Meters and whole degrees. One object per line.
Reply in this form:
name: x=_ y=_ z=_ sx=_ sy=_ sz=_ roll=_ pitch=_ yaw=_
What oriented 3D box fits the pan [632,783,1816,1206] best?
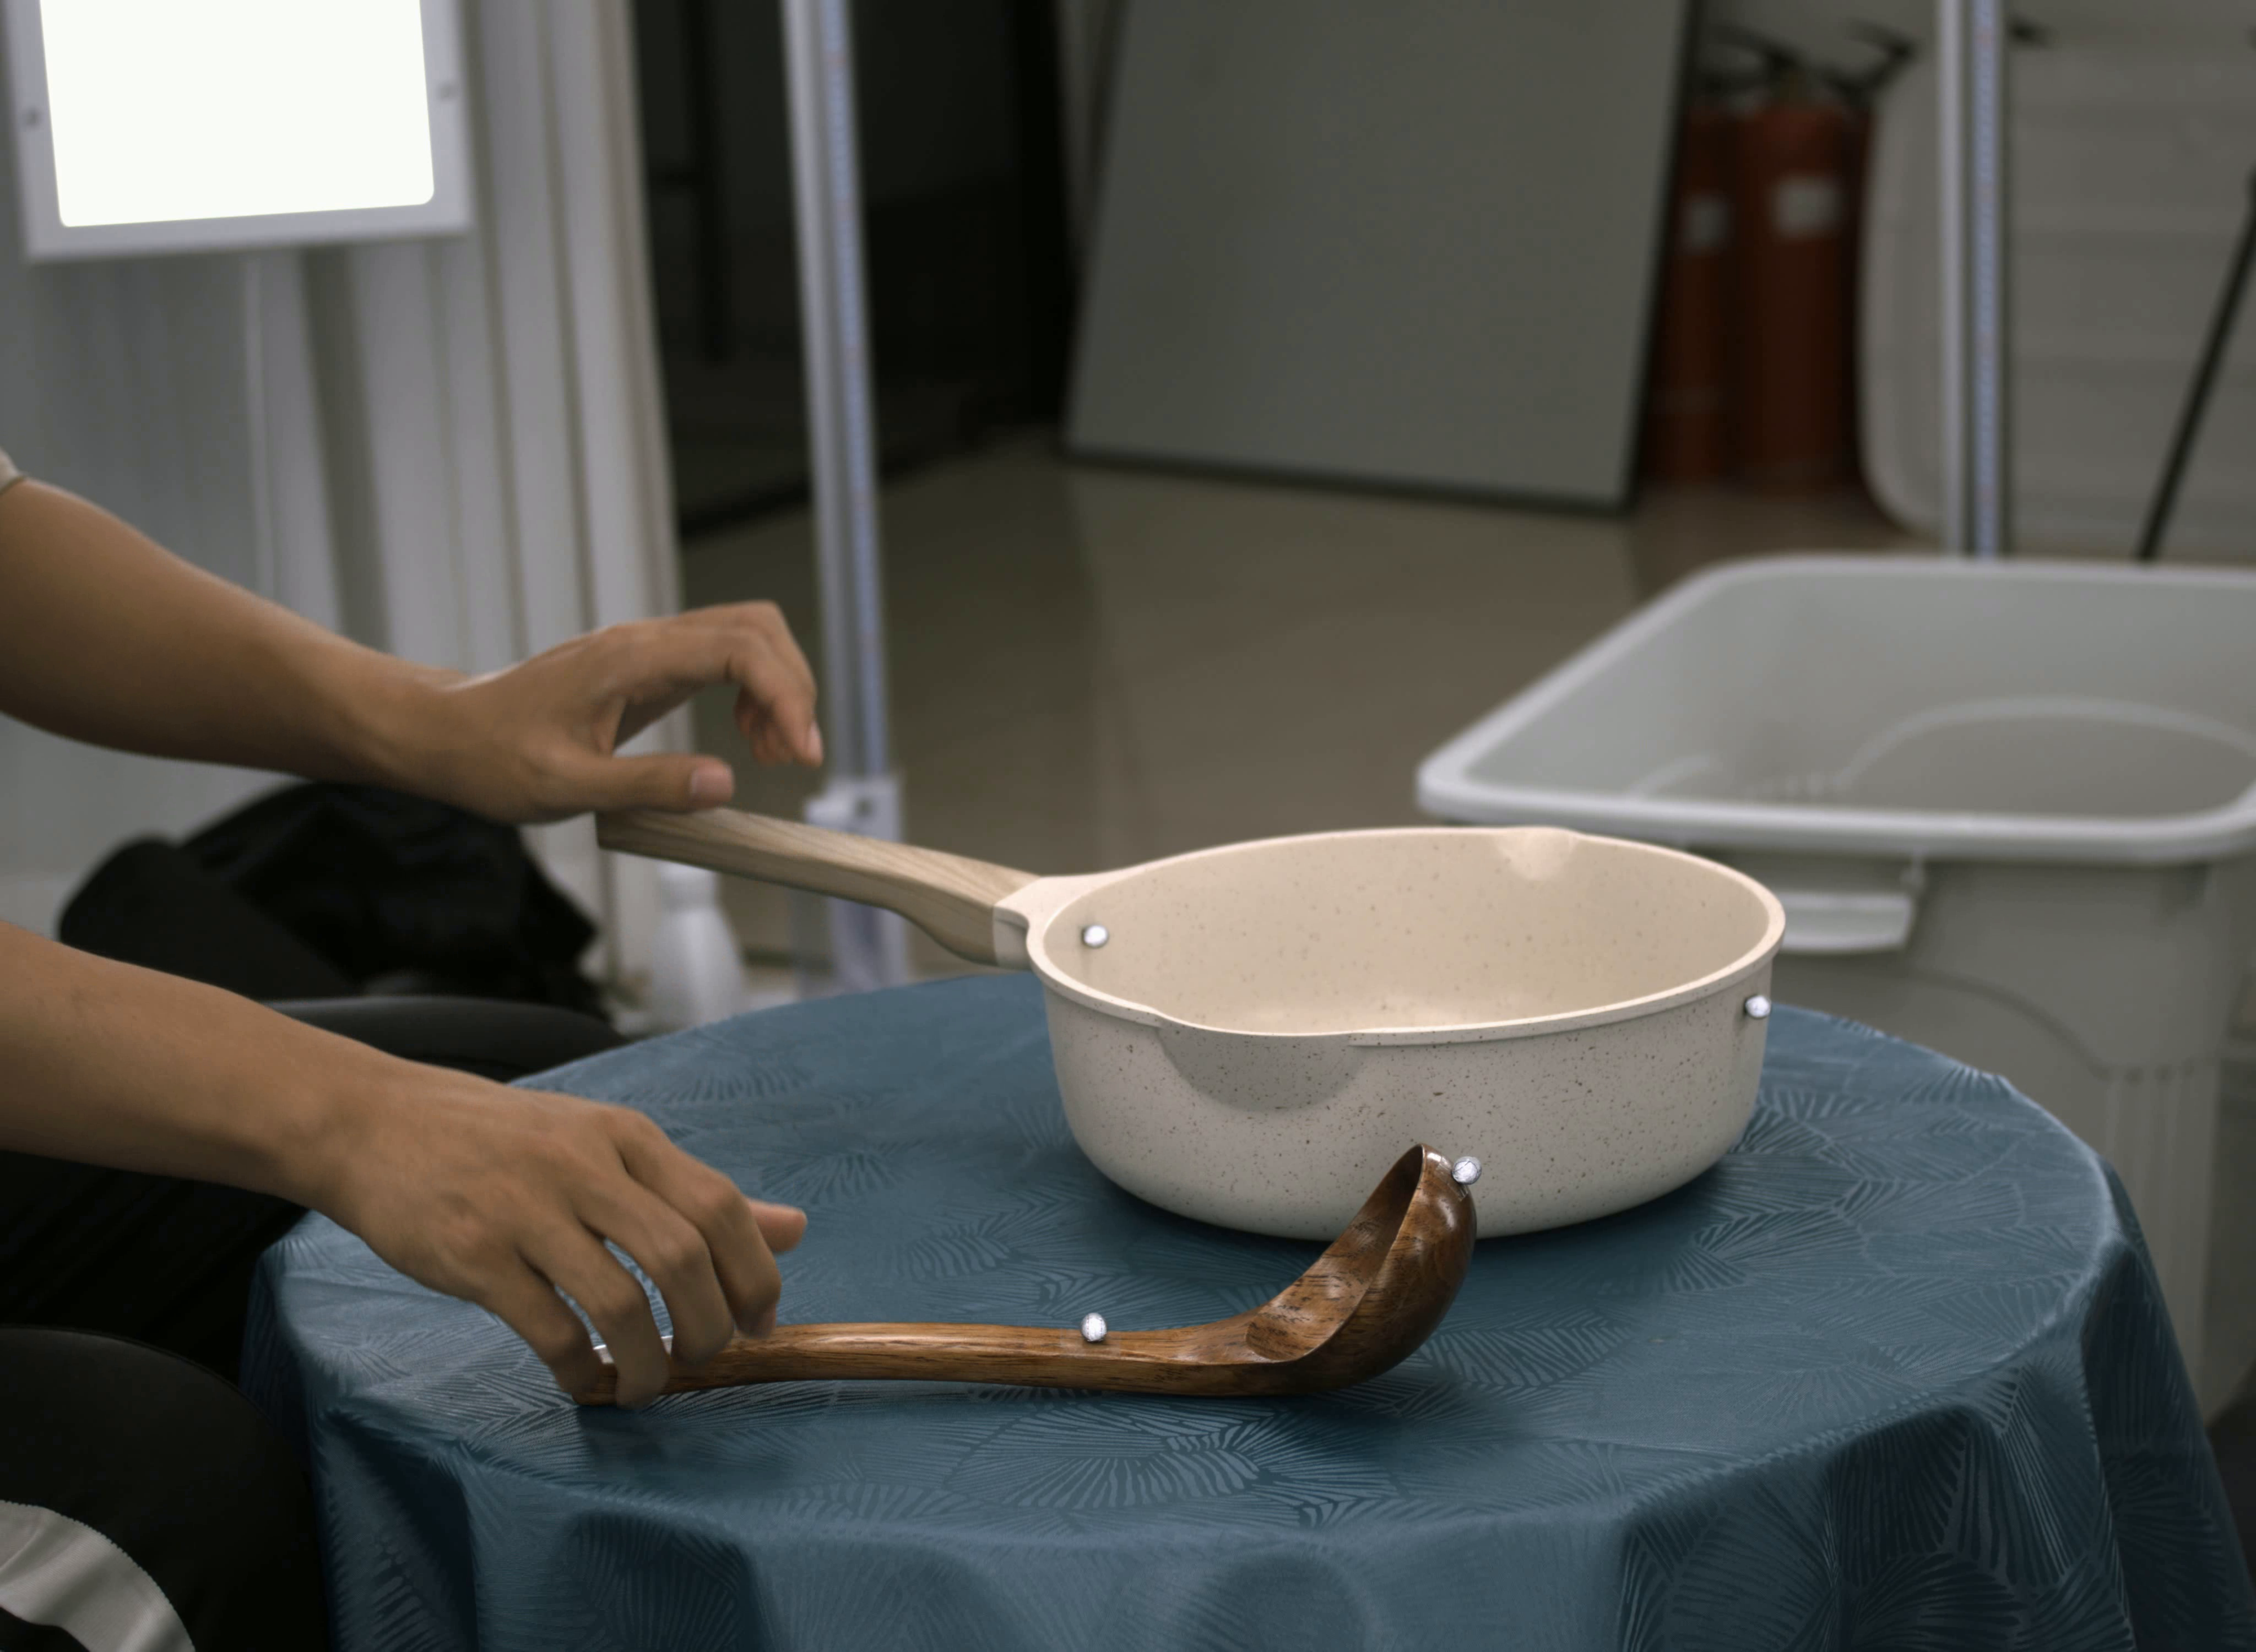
pan: x=0.024 y=0.046 z=1.840 sx=0.436 sy=0.103 sz=0.260 roll=3 pitch=17 yaw=27

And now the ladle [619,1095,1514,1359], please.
ladle: x=-0.021 y=0.120 z=1.591 sx=0.272 sy=0.077 sz=0.081 roll=-1 pitch=15 yaw=10
